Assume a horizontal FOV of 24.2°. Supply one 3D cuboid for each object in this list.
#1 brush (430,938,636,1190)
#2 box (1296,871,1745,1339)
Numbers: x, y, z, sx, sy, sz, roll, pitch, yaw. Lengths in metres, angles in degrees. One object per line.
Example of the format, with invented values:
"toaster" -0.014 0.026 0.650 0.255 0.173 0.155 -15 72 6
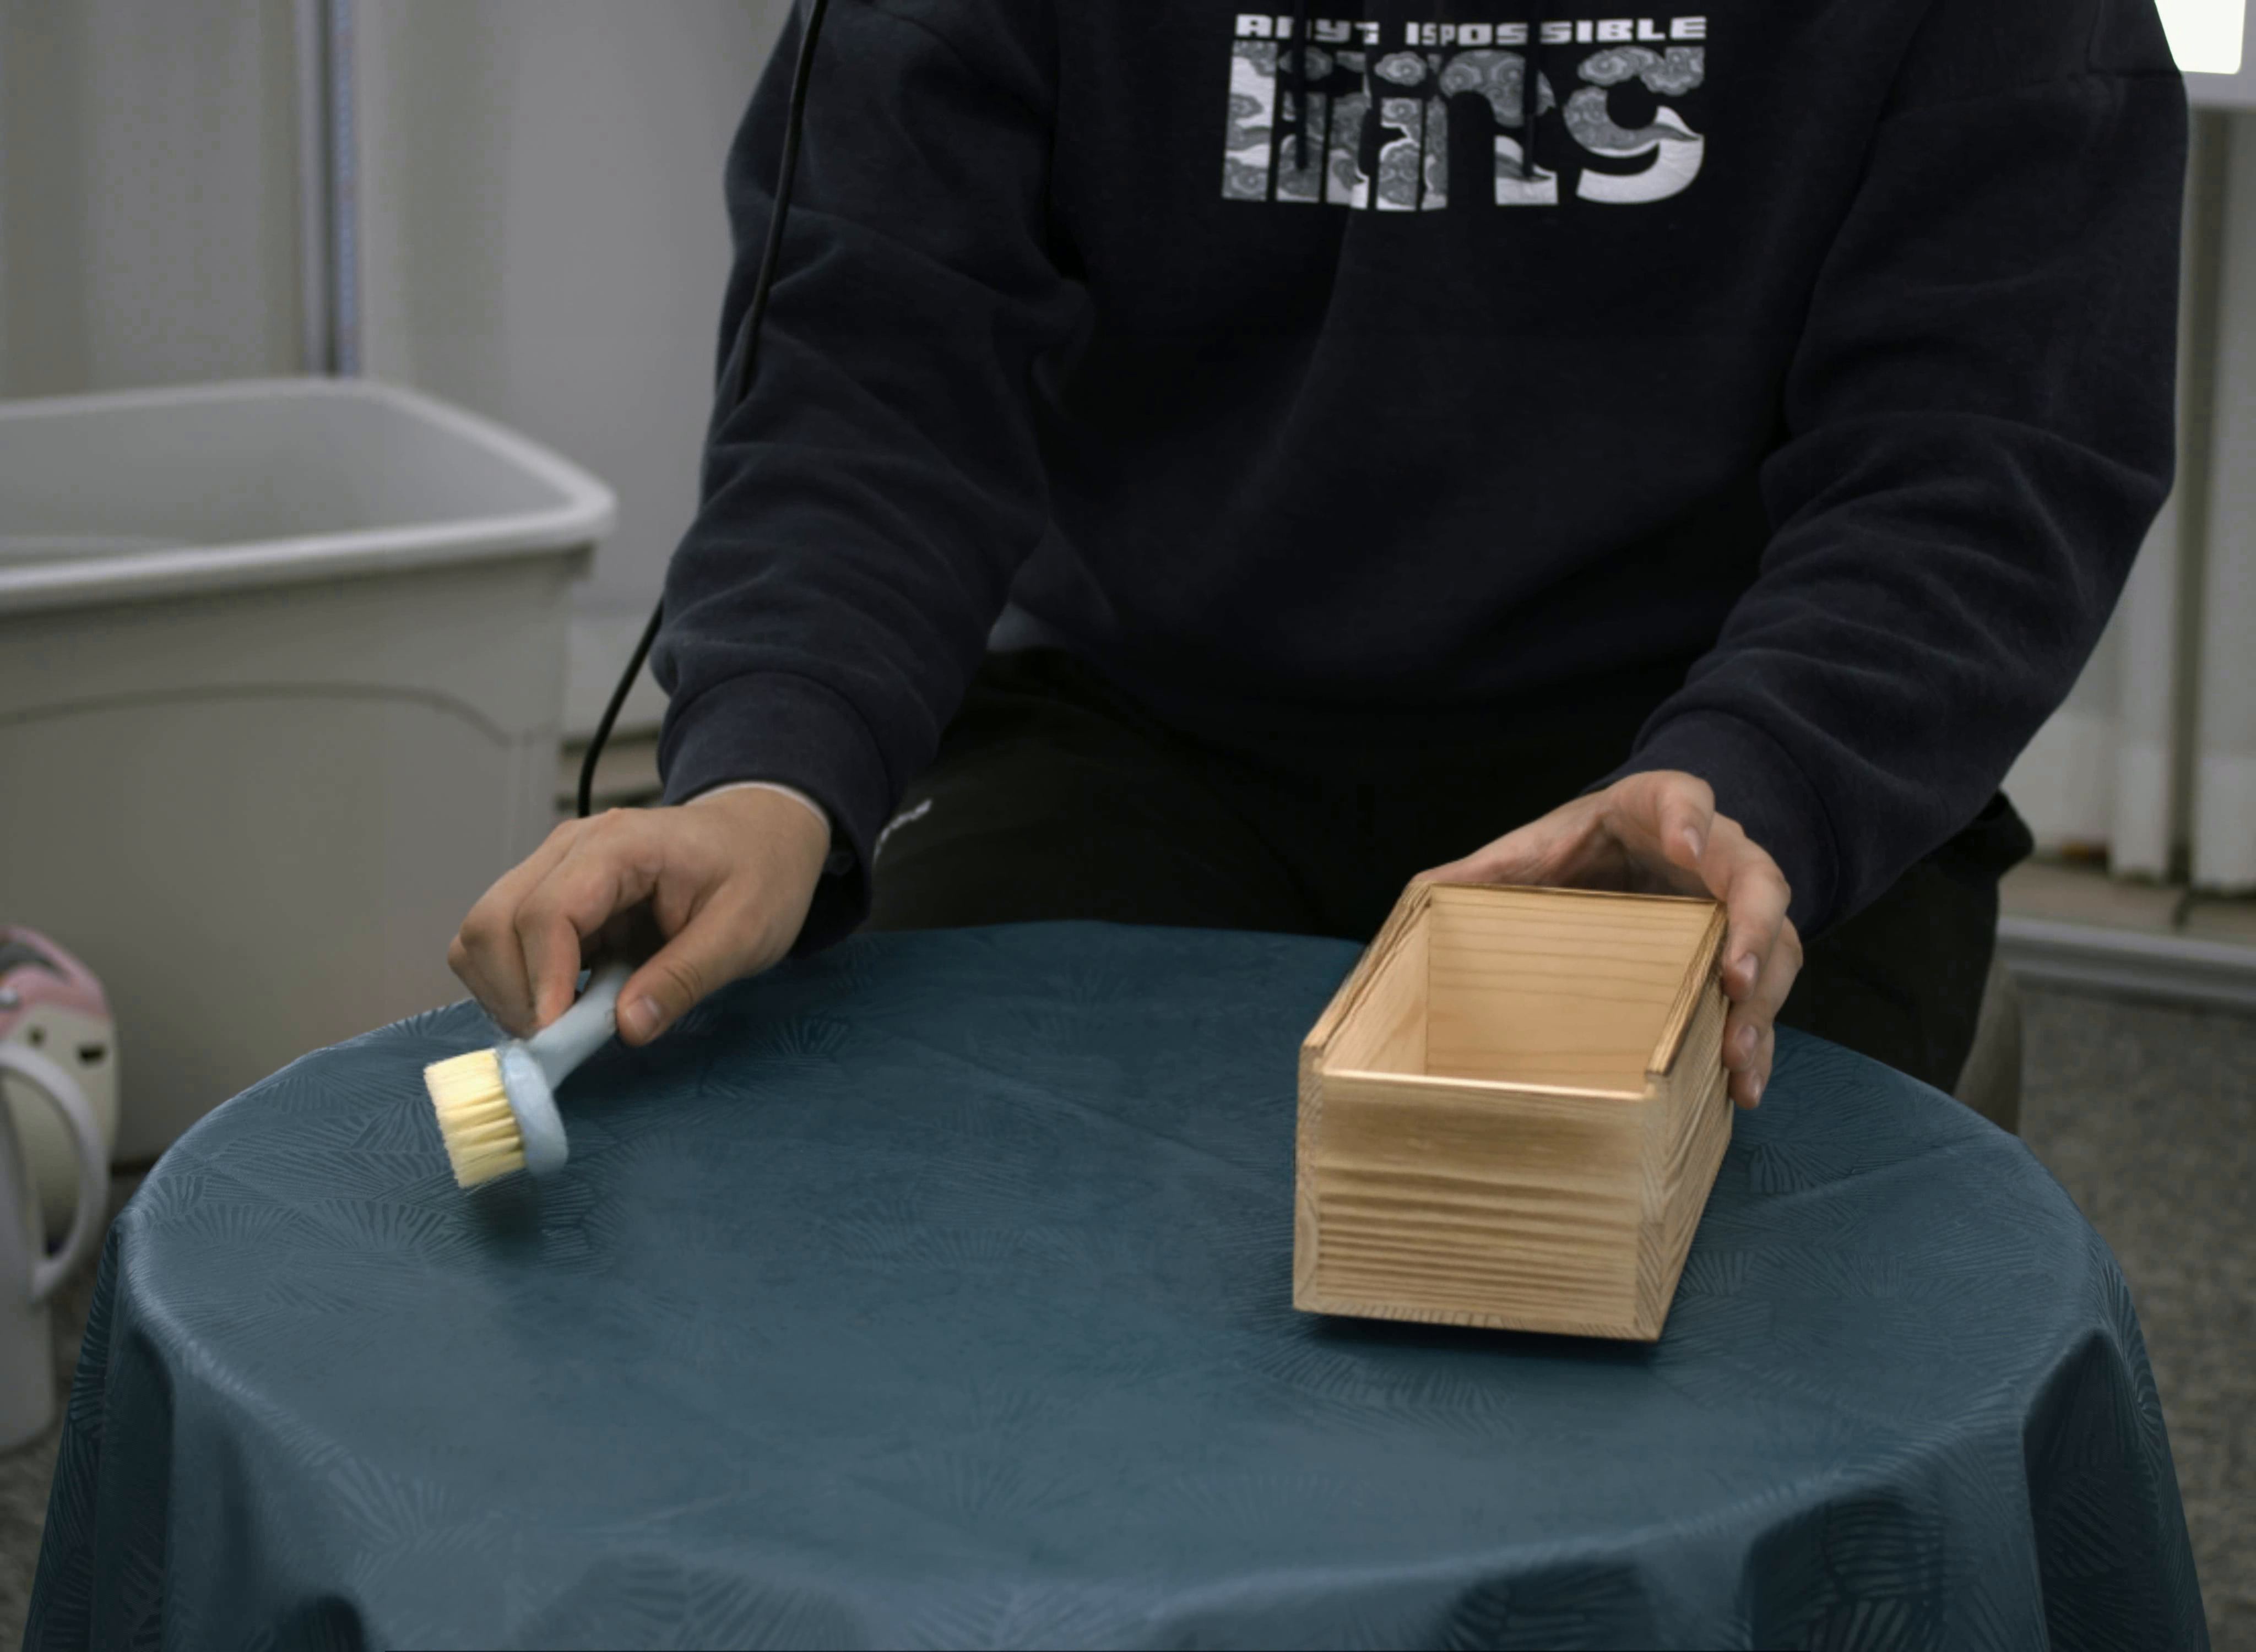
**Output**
"brush" -0.187 0.070 1.666 0.049 0.038 0.228 -20 12 6
"box" 0.121 0.080 1.583 0.107 0.081 0.211 4 14 10
